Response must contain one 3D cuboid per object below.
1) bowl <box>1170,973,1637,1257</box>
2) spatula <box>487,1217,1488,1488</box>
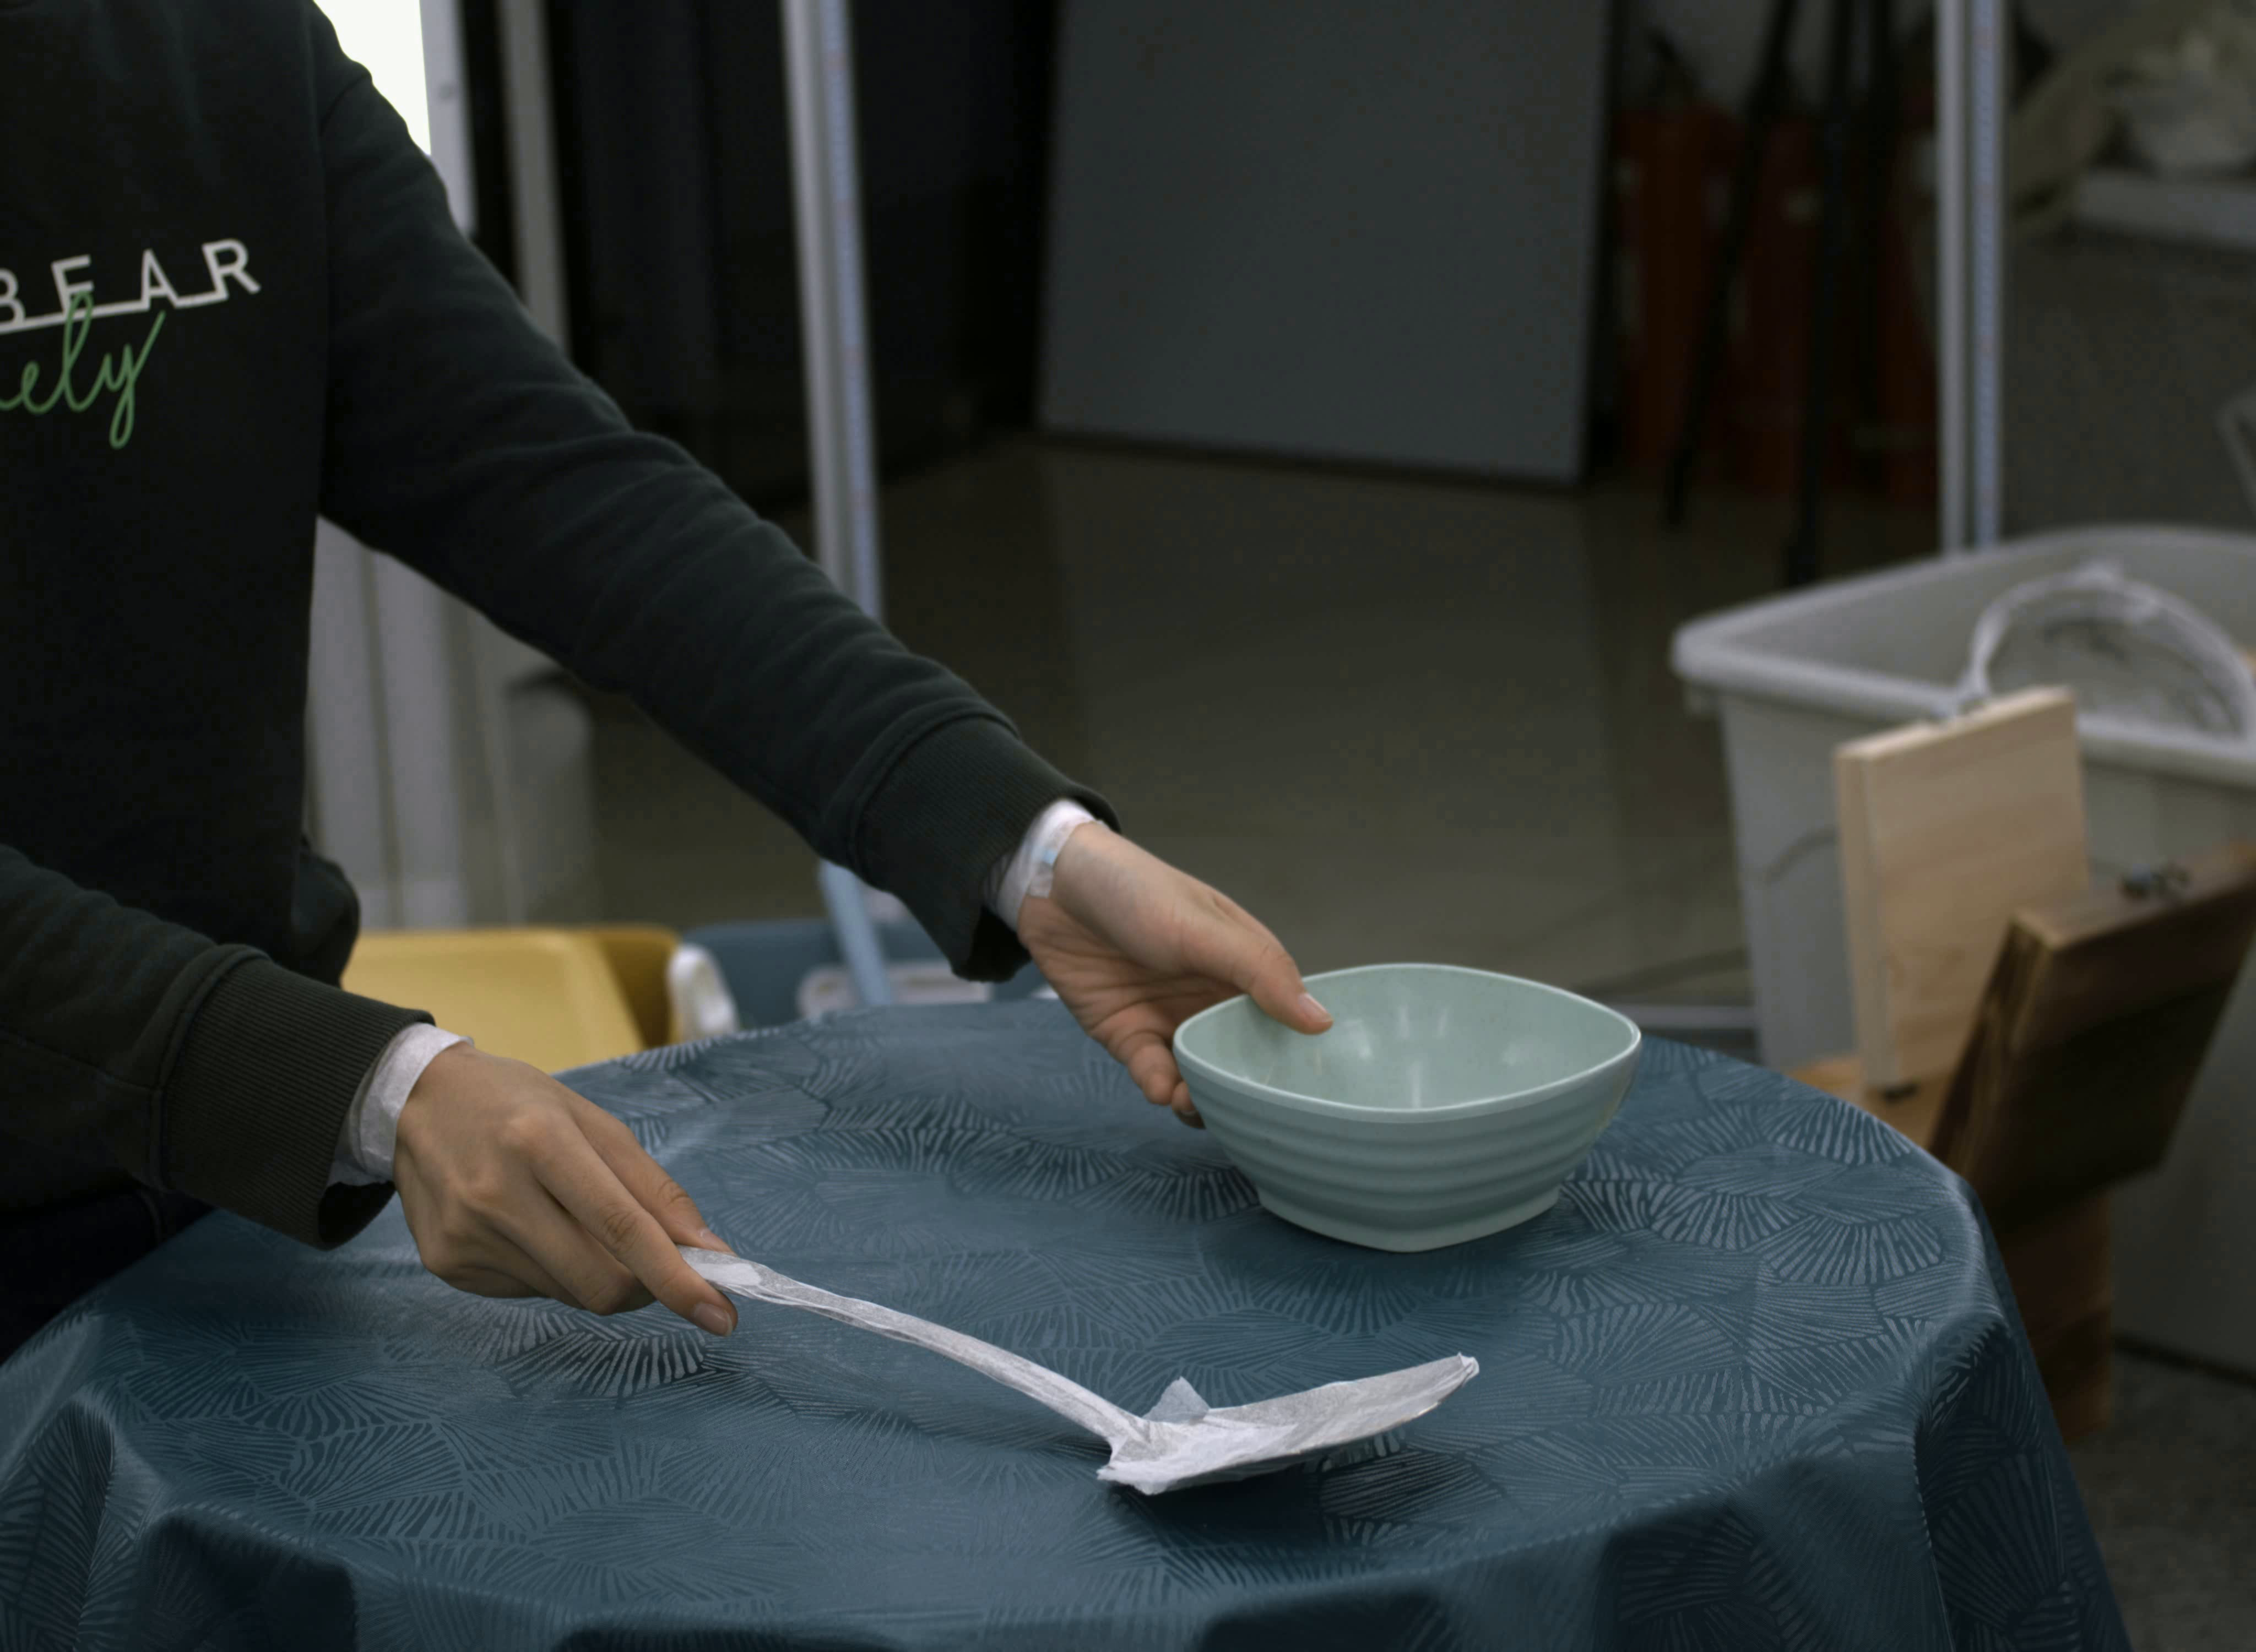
[{"bbox_3d":[0.088,0.095,1.728,0.149,0.059,0.152,0,14,-1],"label":"bowl"},{"bbox_3d":[-0.061,0.143,1.580,0.367,0.045,0.097,13,22,36],"label":"spatula"}]
